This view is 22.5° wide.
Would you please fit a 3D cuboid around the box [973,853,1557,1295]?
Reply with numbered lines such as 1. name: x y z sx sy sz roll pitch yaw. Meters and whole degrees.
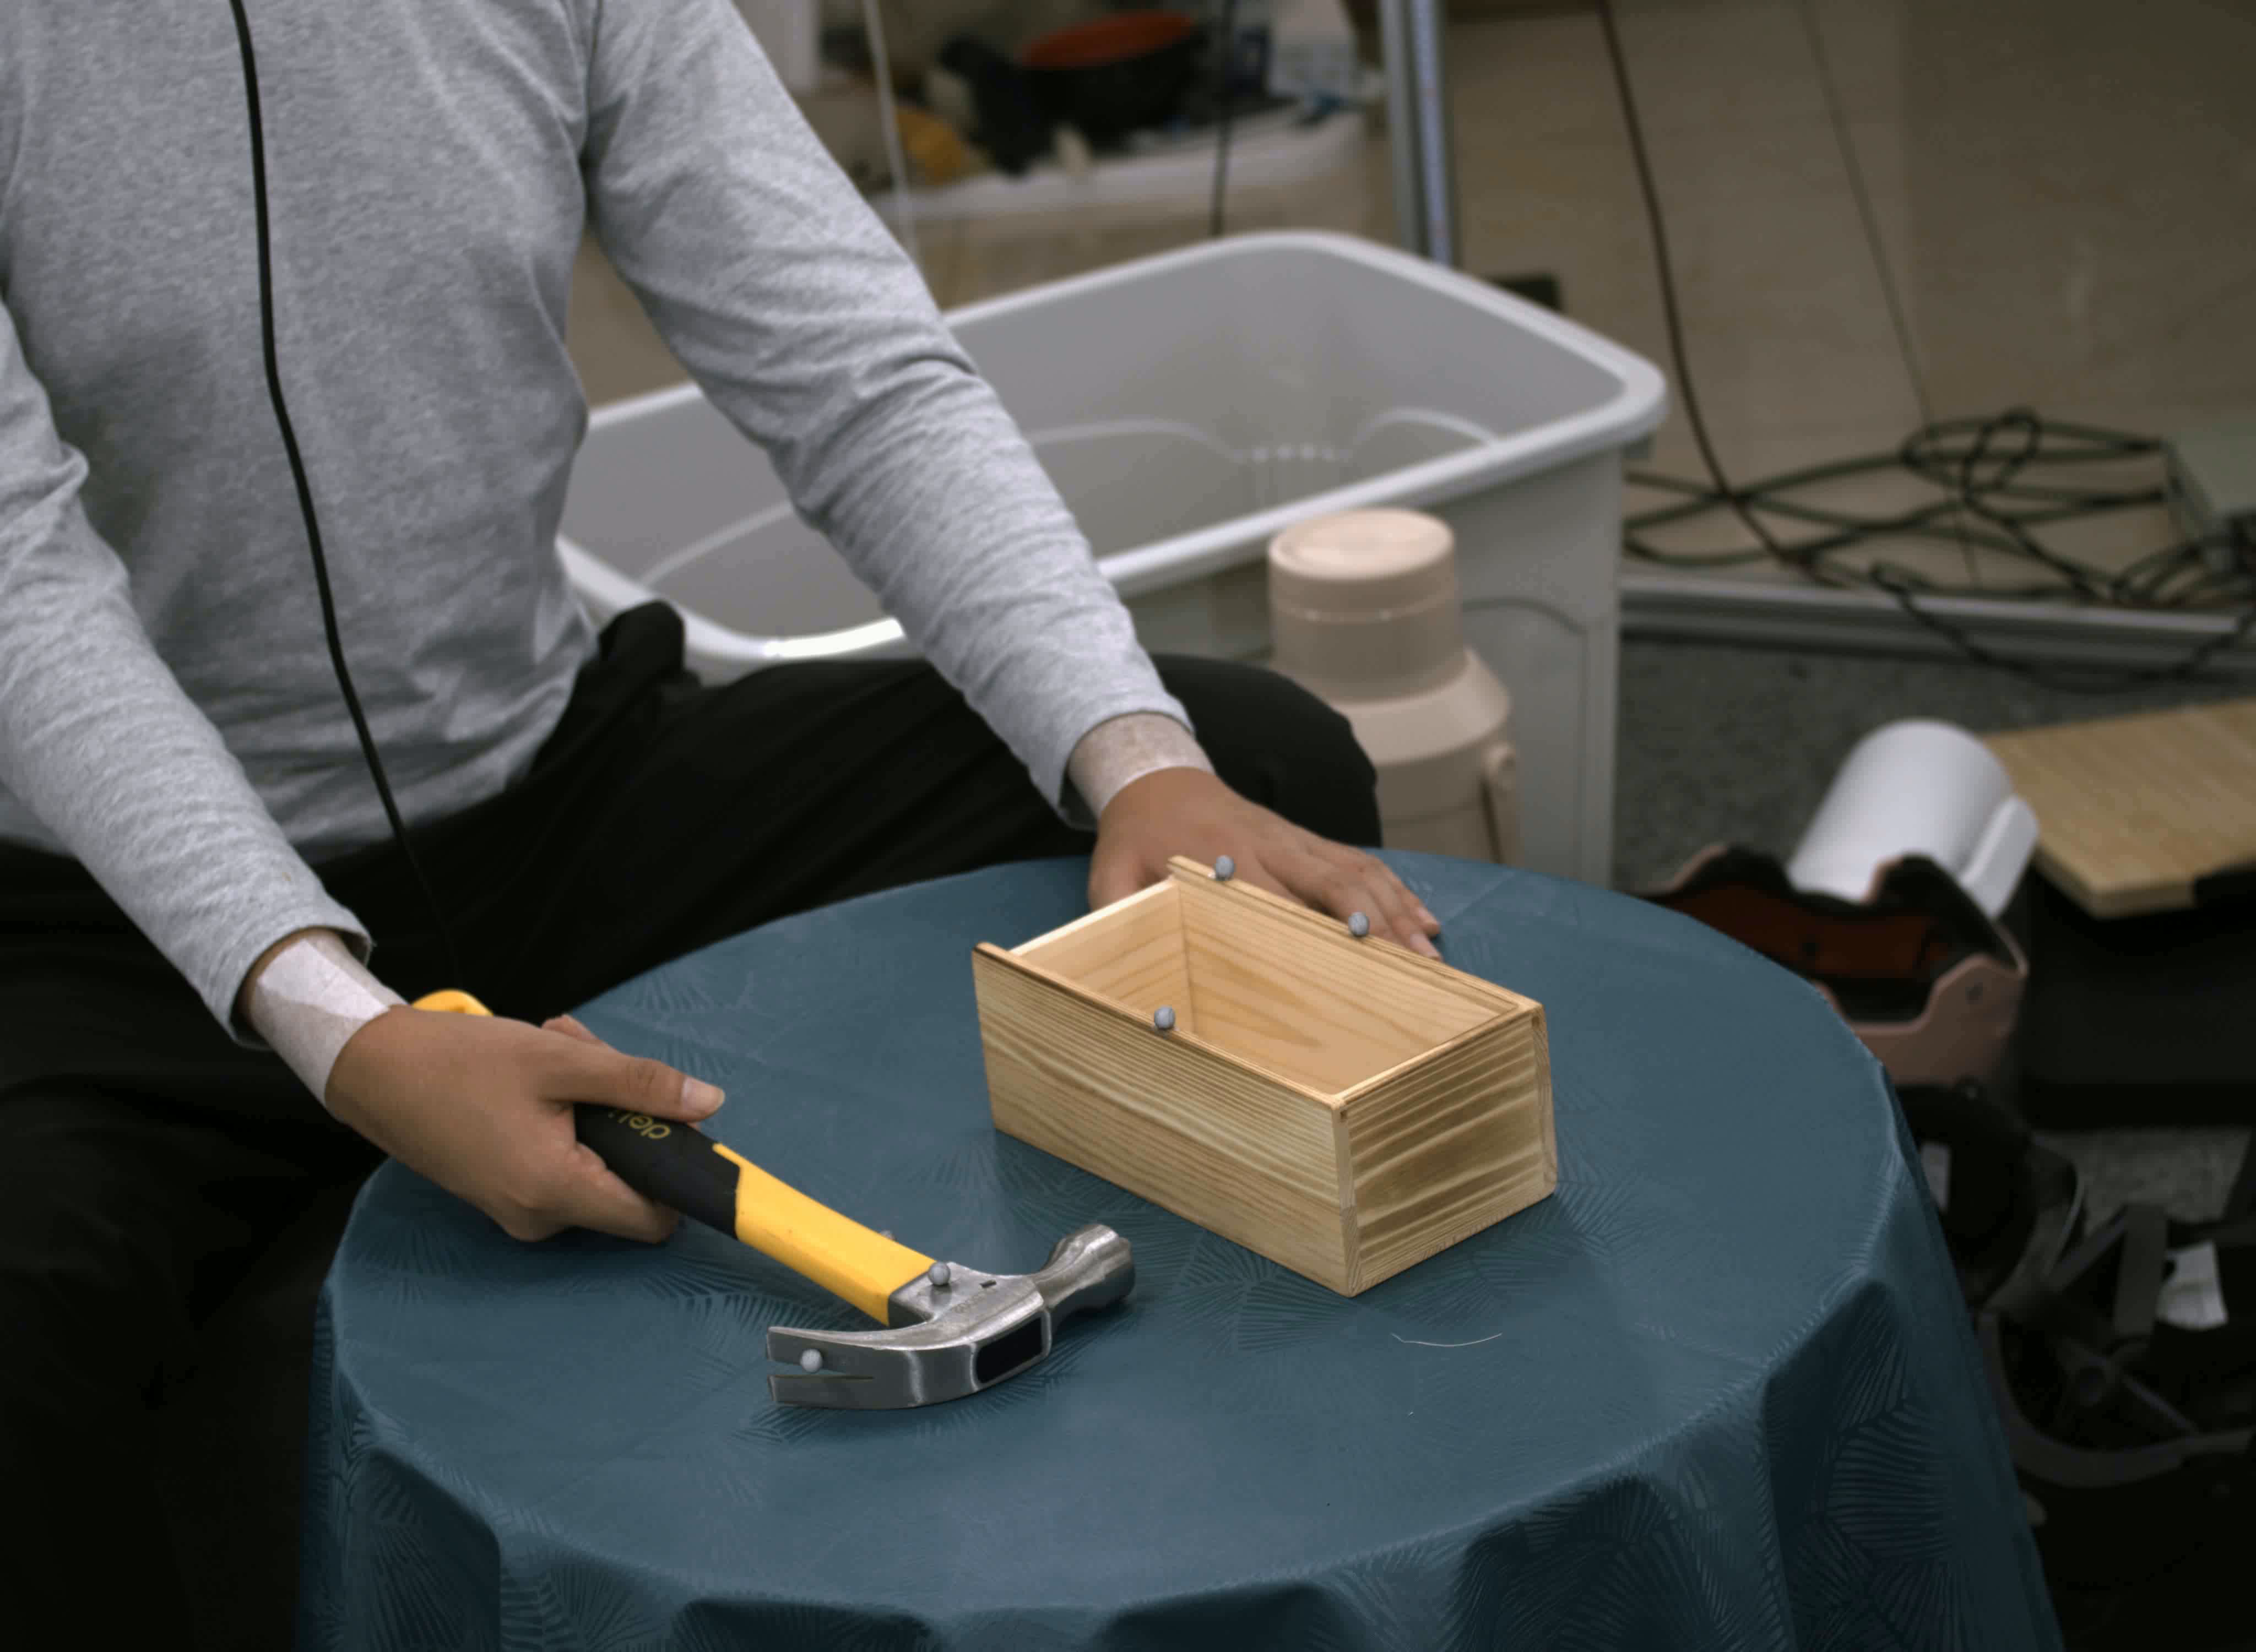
1. box: 0.050 0.091 2.144 0.107 0.081 0.209 -25 31 -33

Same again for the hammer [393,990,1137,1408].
1. hammer: -0.160 0.131 2.130 0.335 0.033 0.130 25 41 39
